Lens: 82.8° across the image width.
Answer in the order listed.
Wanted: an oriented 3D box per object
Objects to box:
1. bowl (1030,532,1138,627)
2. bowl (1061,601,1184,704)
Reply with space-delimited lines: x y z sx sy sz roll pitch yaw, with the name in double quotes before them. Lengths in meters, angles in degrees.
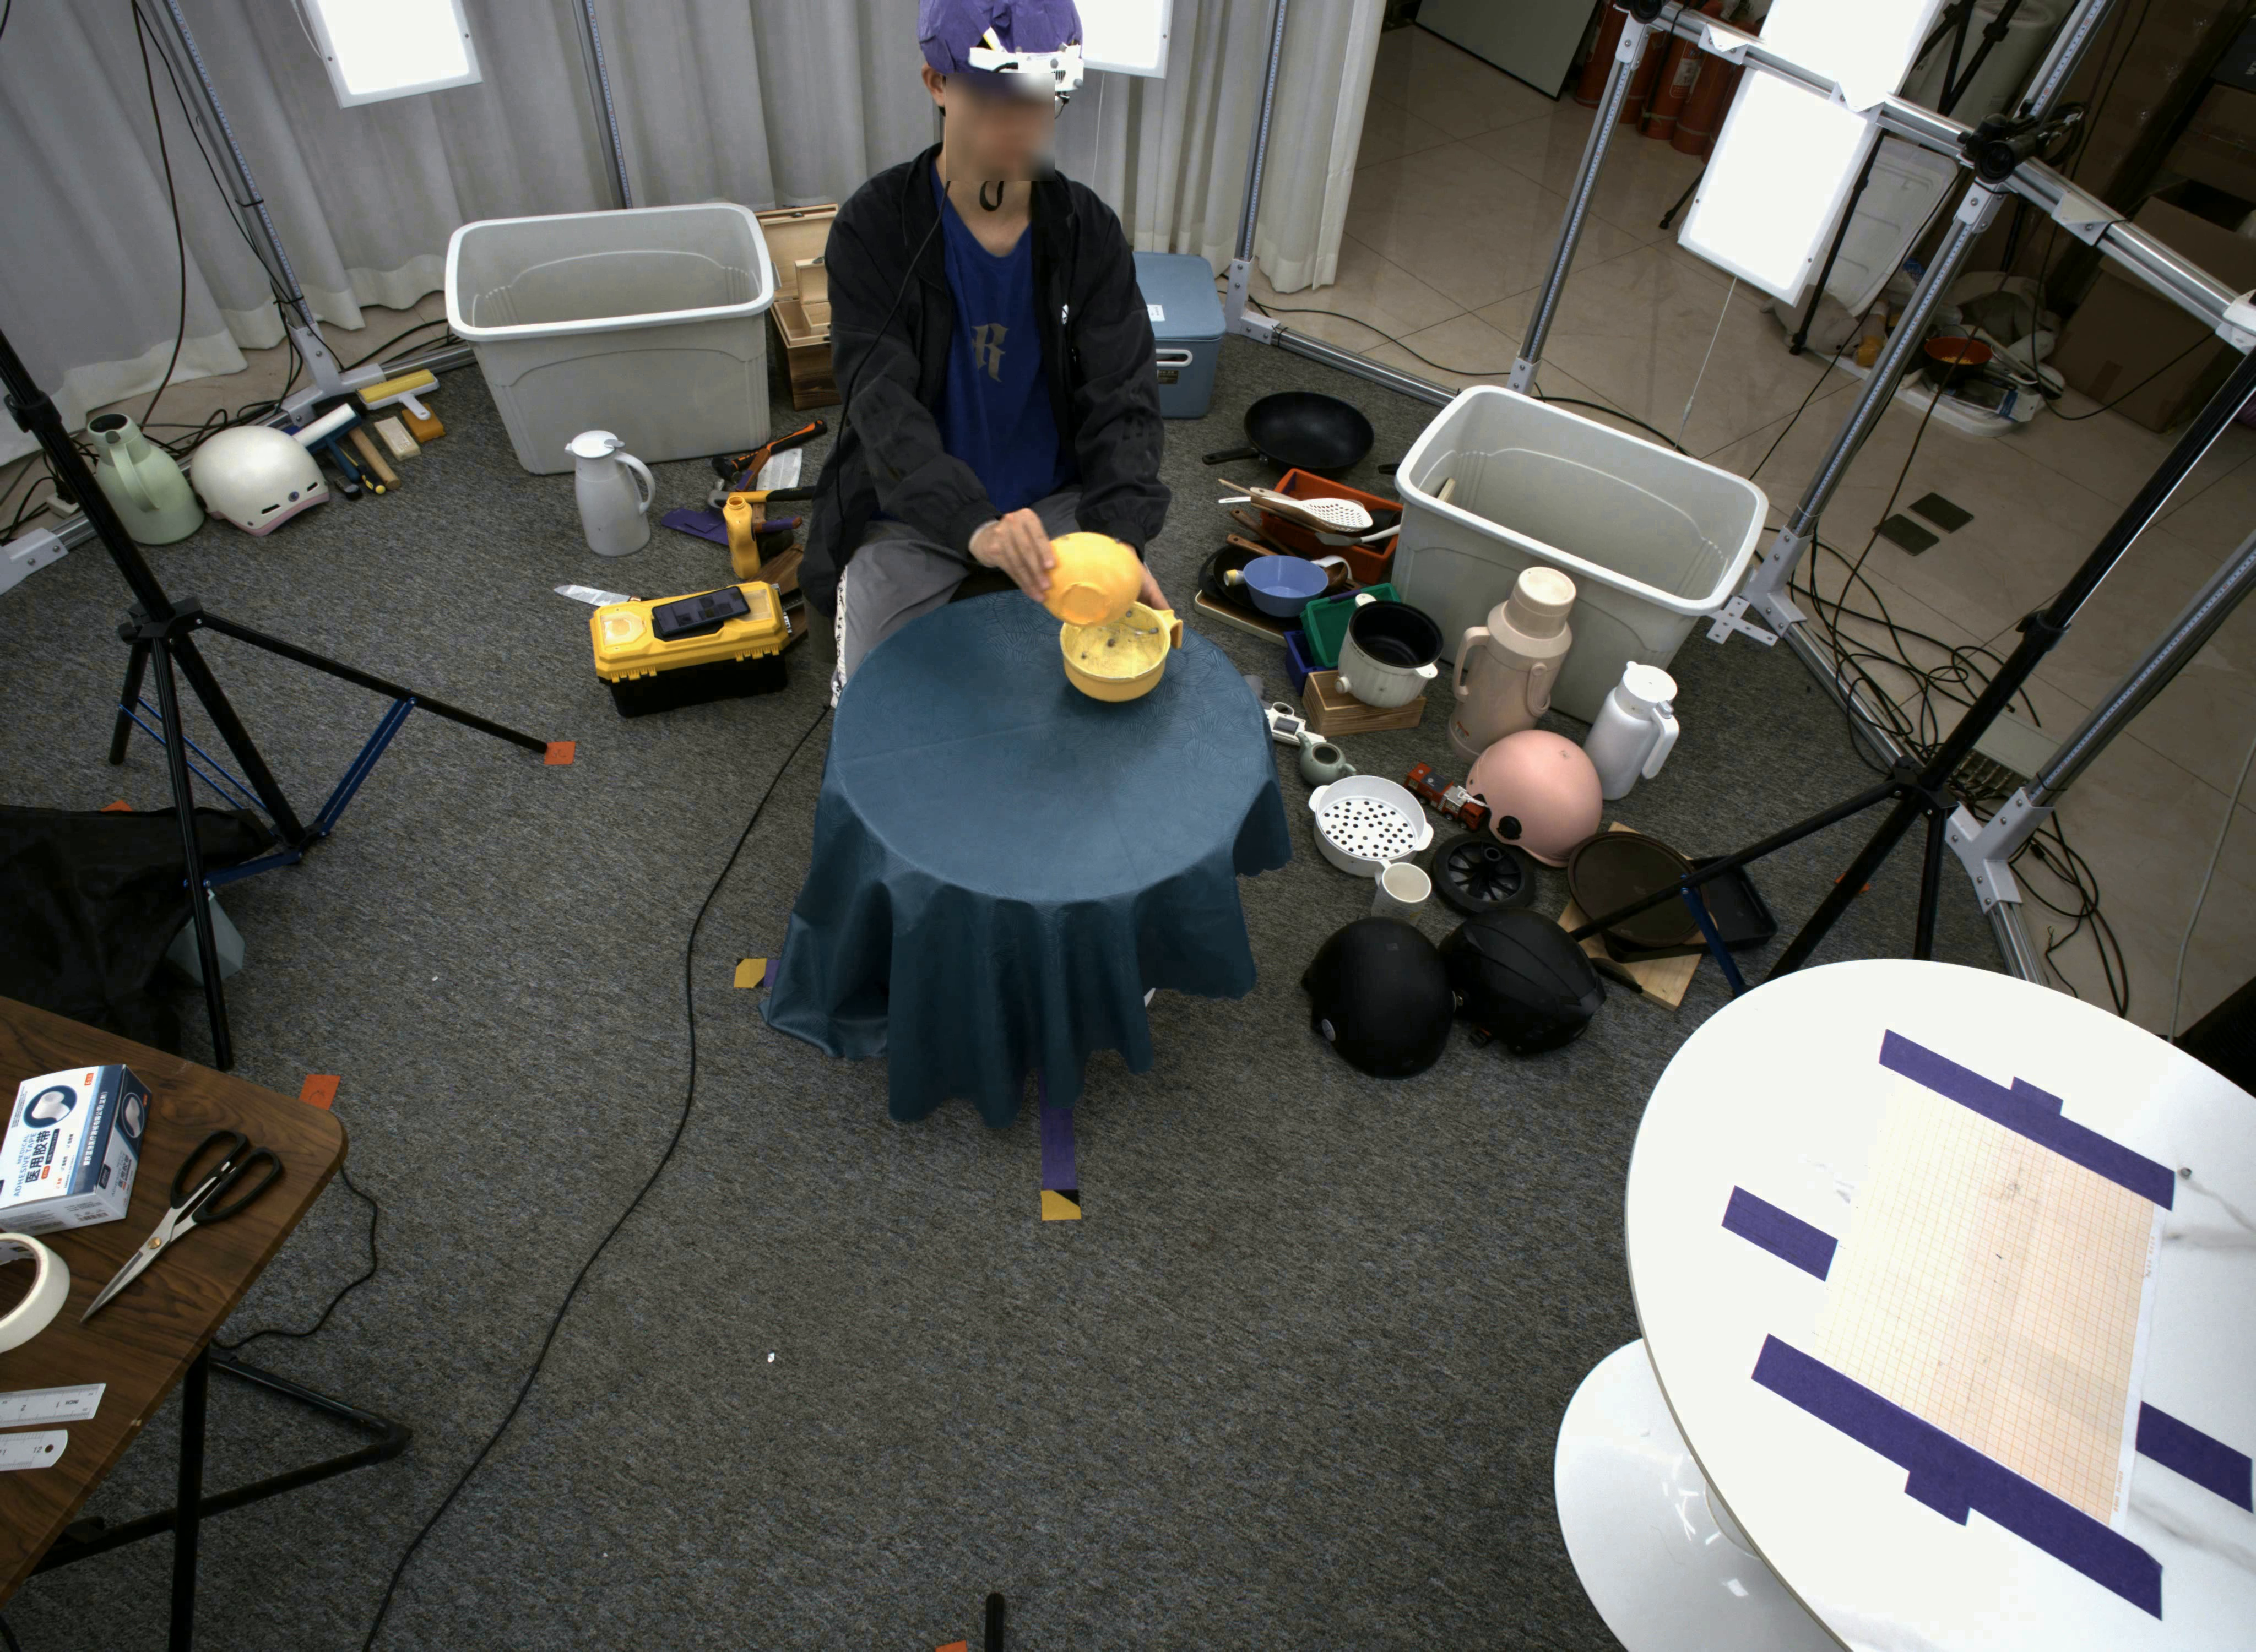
"bowl" -0.062 -0.307 1.673 0.145 0.142 0.061 8 52 3
"bowl" -0.004 -0.245 1.800 0.180 0.072 0.156 -29 58 -19
